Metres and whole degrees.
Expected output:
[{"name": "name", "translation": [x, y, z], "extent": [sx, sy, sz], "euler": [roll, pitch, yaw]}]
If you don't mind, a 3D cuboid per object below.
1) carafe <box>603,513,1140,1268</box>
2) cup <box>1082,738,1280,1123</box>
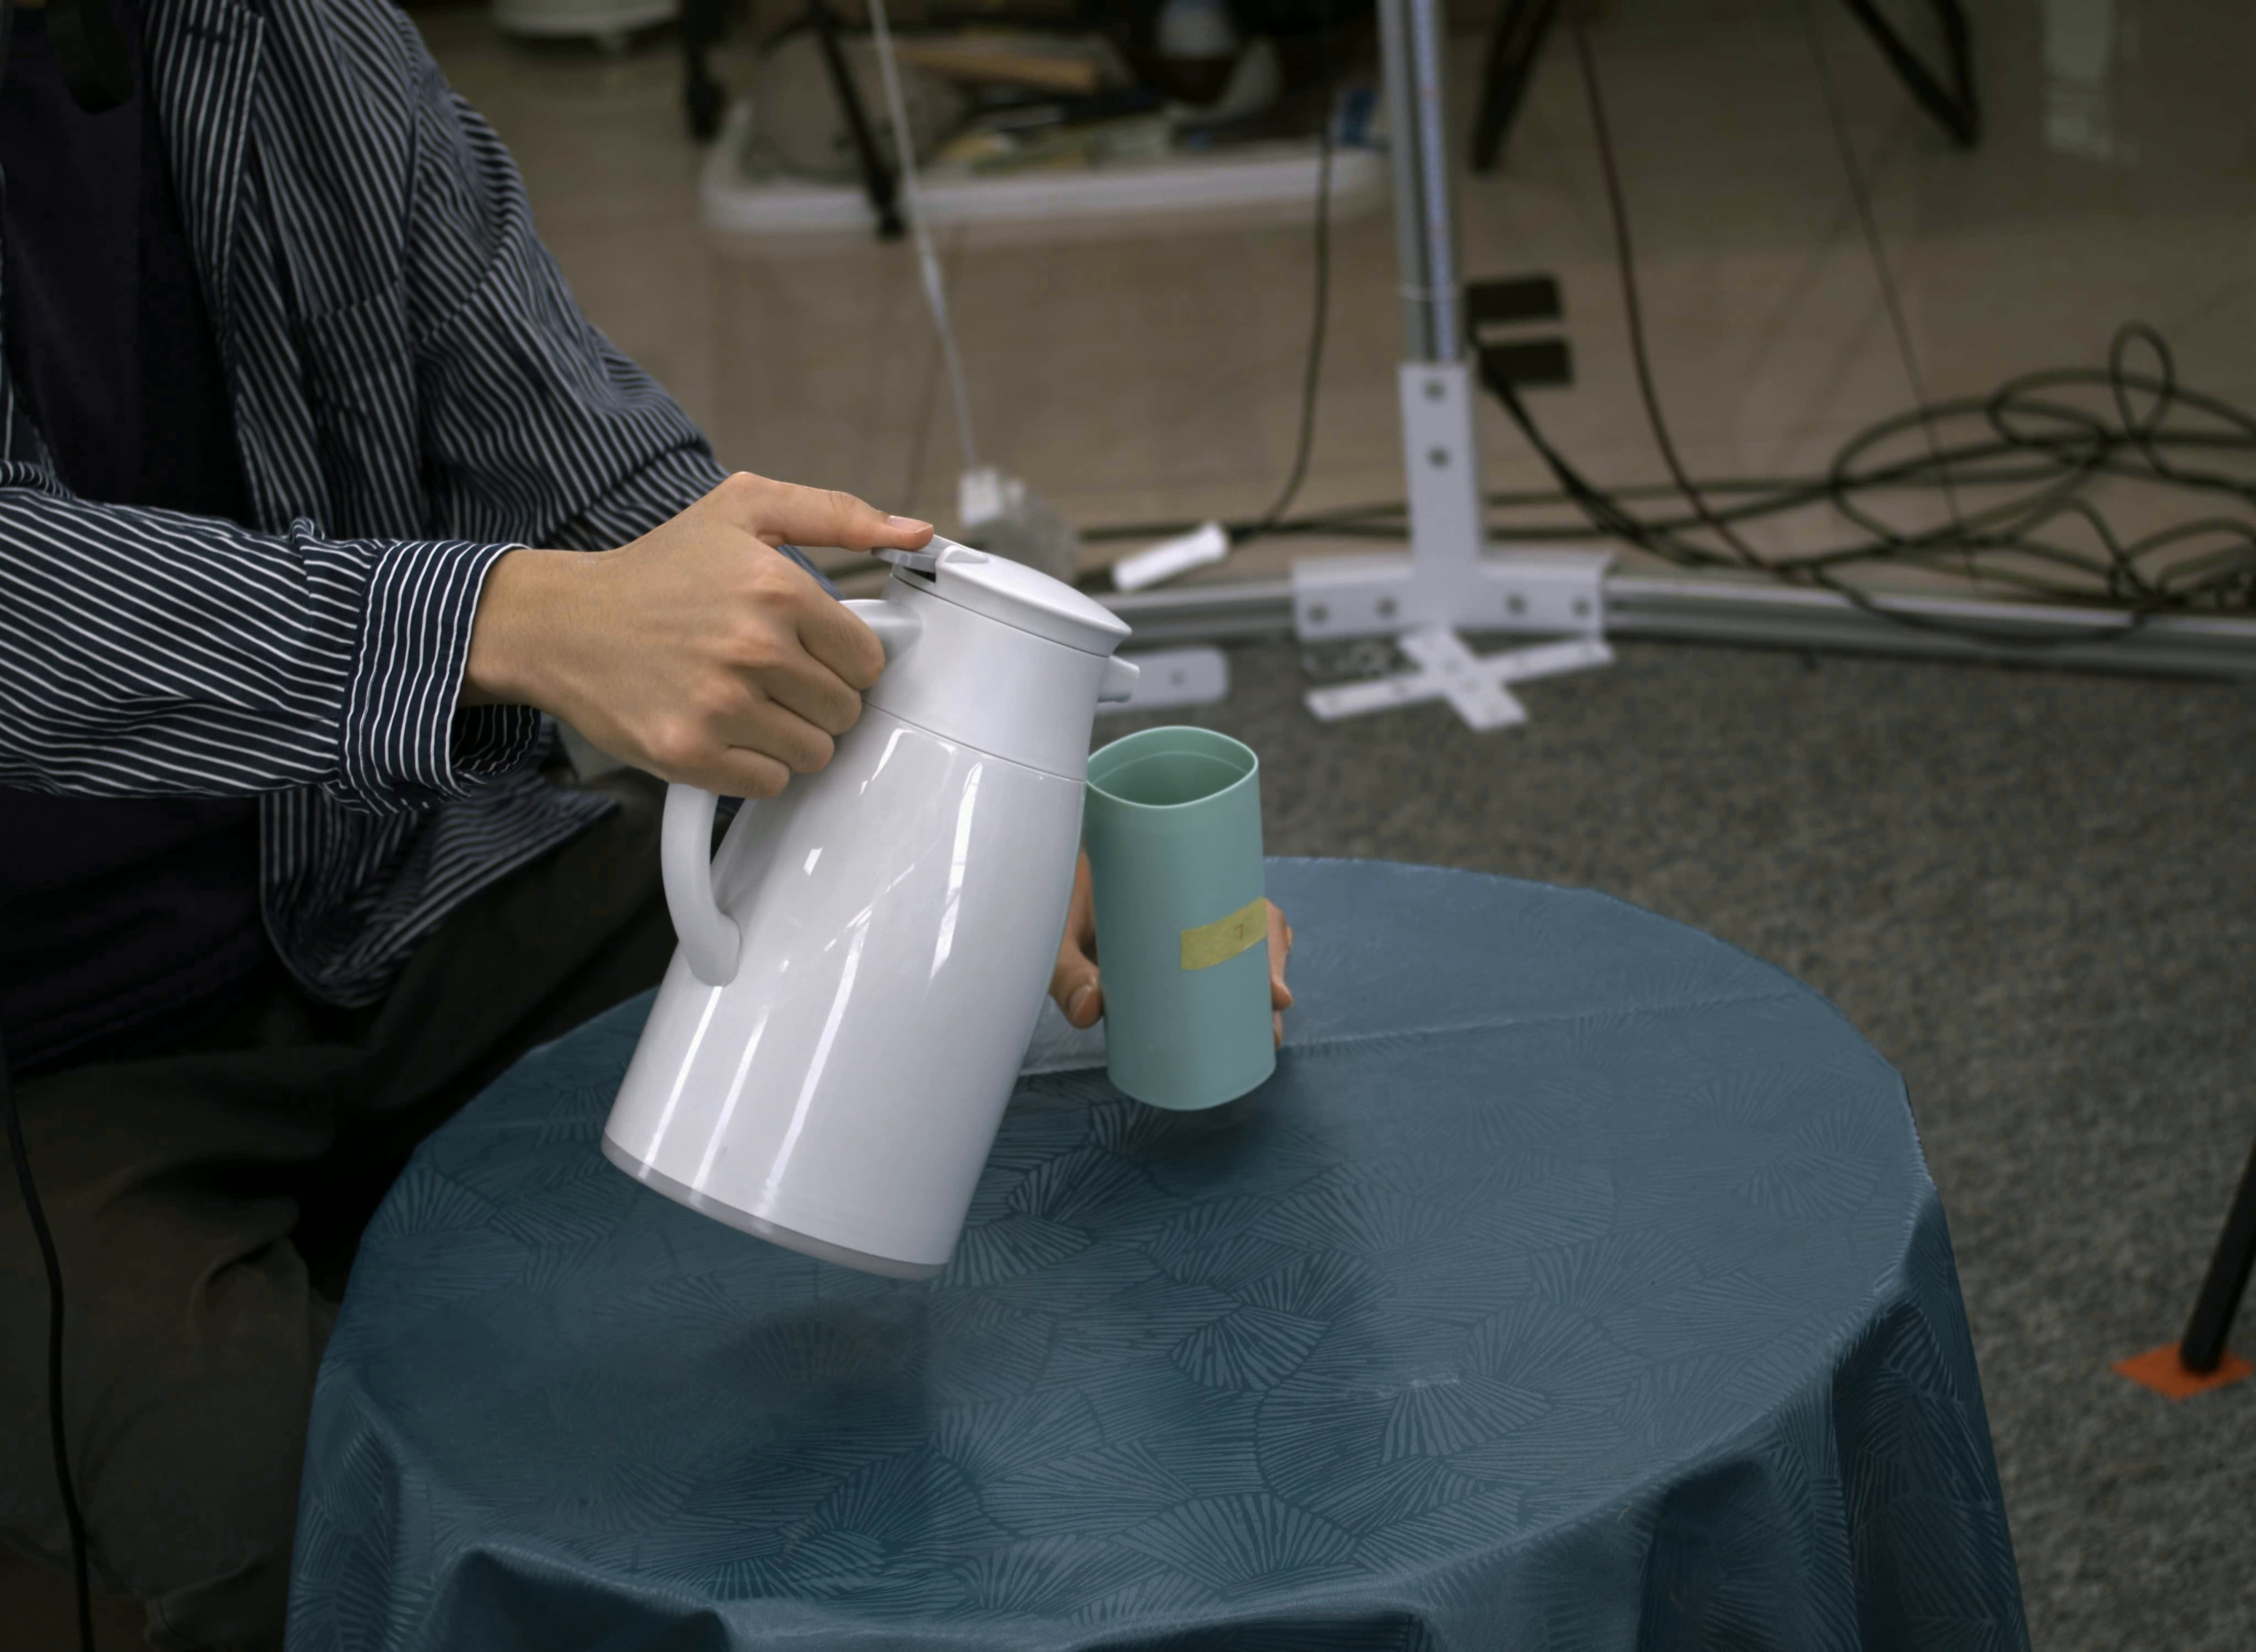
[{"name": "carafe", "translation": [-0.094, 0.014, 2.000], "extent": [0.168, 0.250, 0.131], "euler": [14, 11, -43]}, {"name": "cup", "translation": [0.020, 0.039, 2.139], "extent": [0.066, 0.134, 0.065], "euler": [-4, 29, 2]}]
